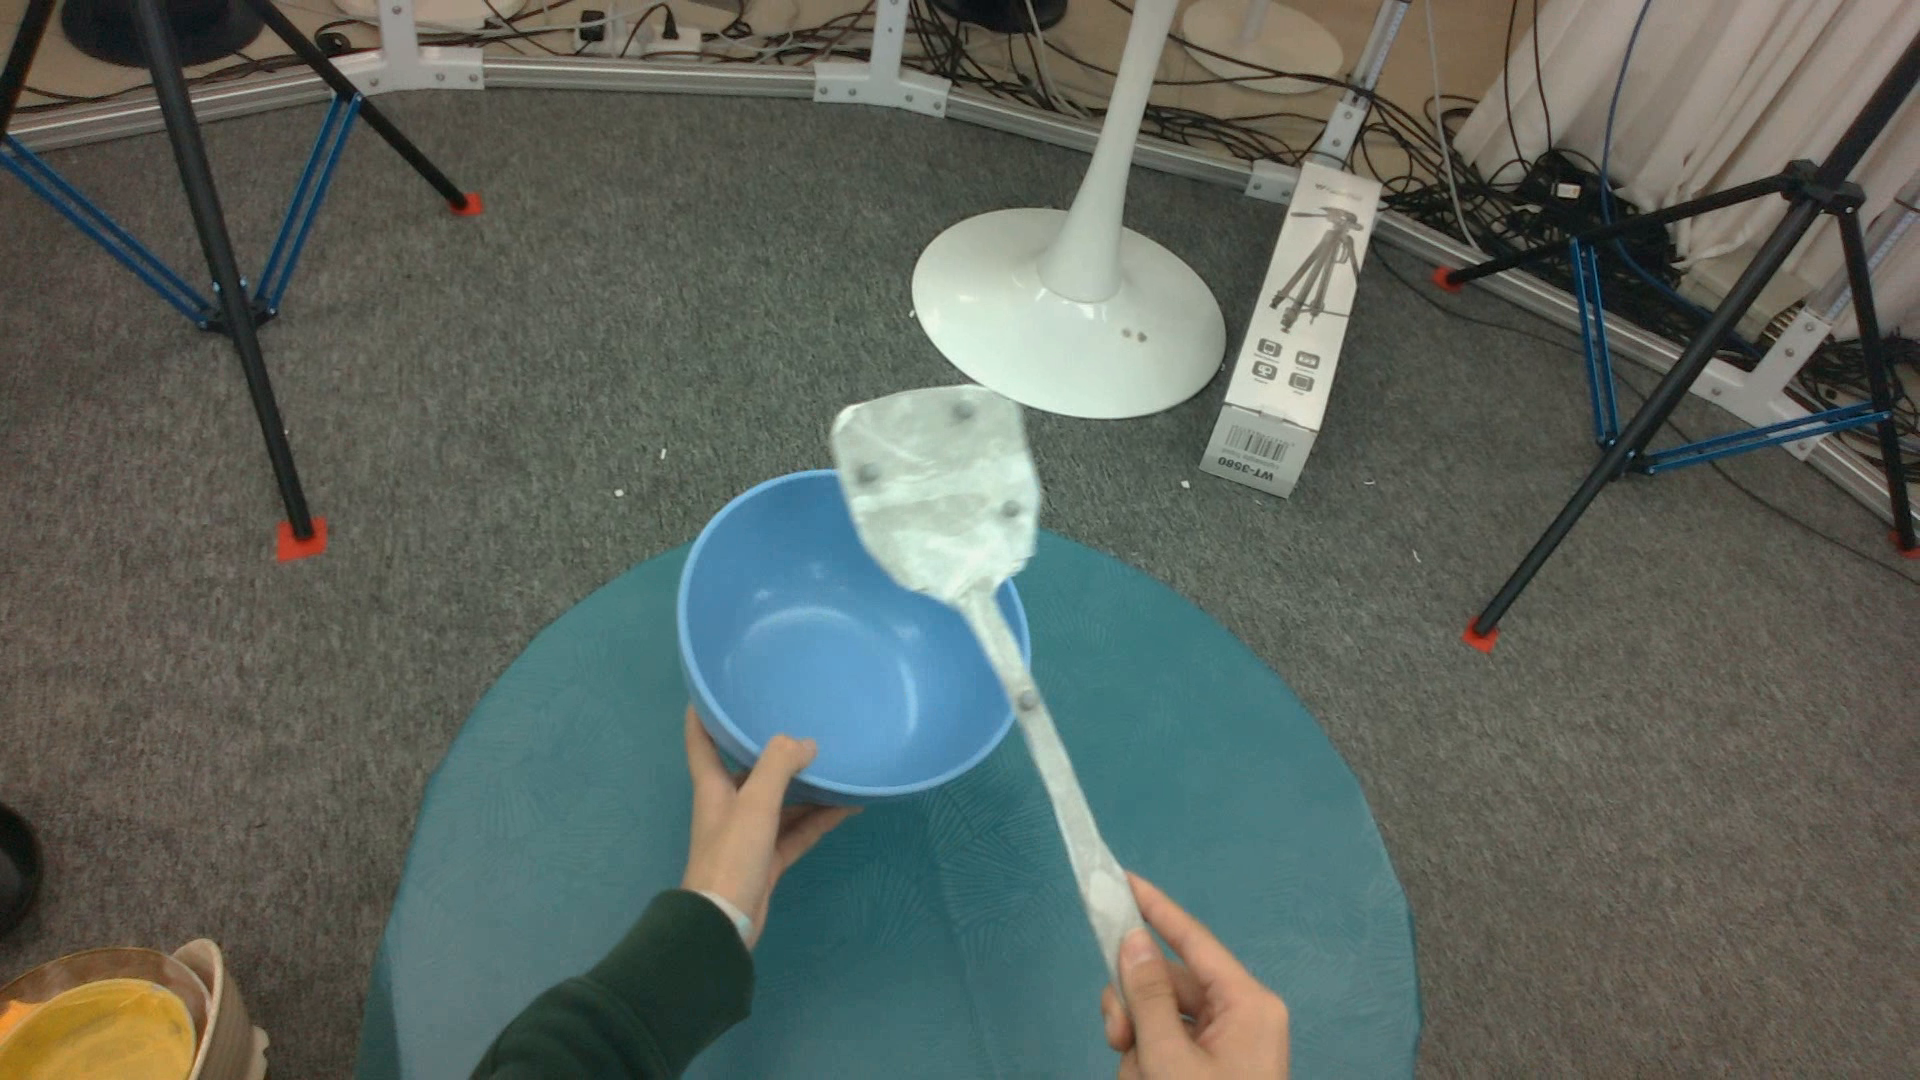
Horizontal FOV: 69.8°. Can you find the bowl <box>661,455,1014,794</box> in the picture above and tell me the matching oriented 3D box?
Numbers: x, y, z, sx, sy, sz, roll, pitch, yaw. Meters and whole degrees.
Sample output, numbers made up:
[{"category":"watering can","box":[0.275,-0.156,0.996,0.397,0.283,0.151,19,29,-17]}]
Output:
[{"category":"bowl","box":[-0.078,0.059,0.768,0.196,0.095,0.197,13,53,-18]}]

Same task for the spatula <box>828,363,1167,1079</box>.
[{"category":"spatula","box":[0.029,0.082,0.595,0.099,0.044,0.366,-8,62,-24]}]
